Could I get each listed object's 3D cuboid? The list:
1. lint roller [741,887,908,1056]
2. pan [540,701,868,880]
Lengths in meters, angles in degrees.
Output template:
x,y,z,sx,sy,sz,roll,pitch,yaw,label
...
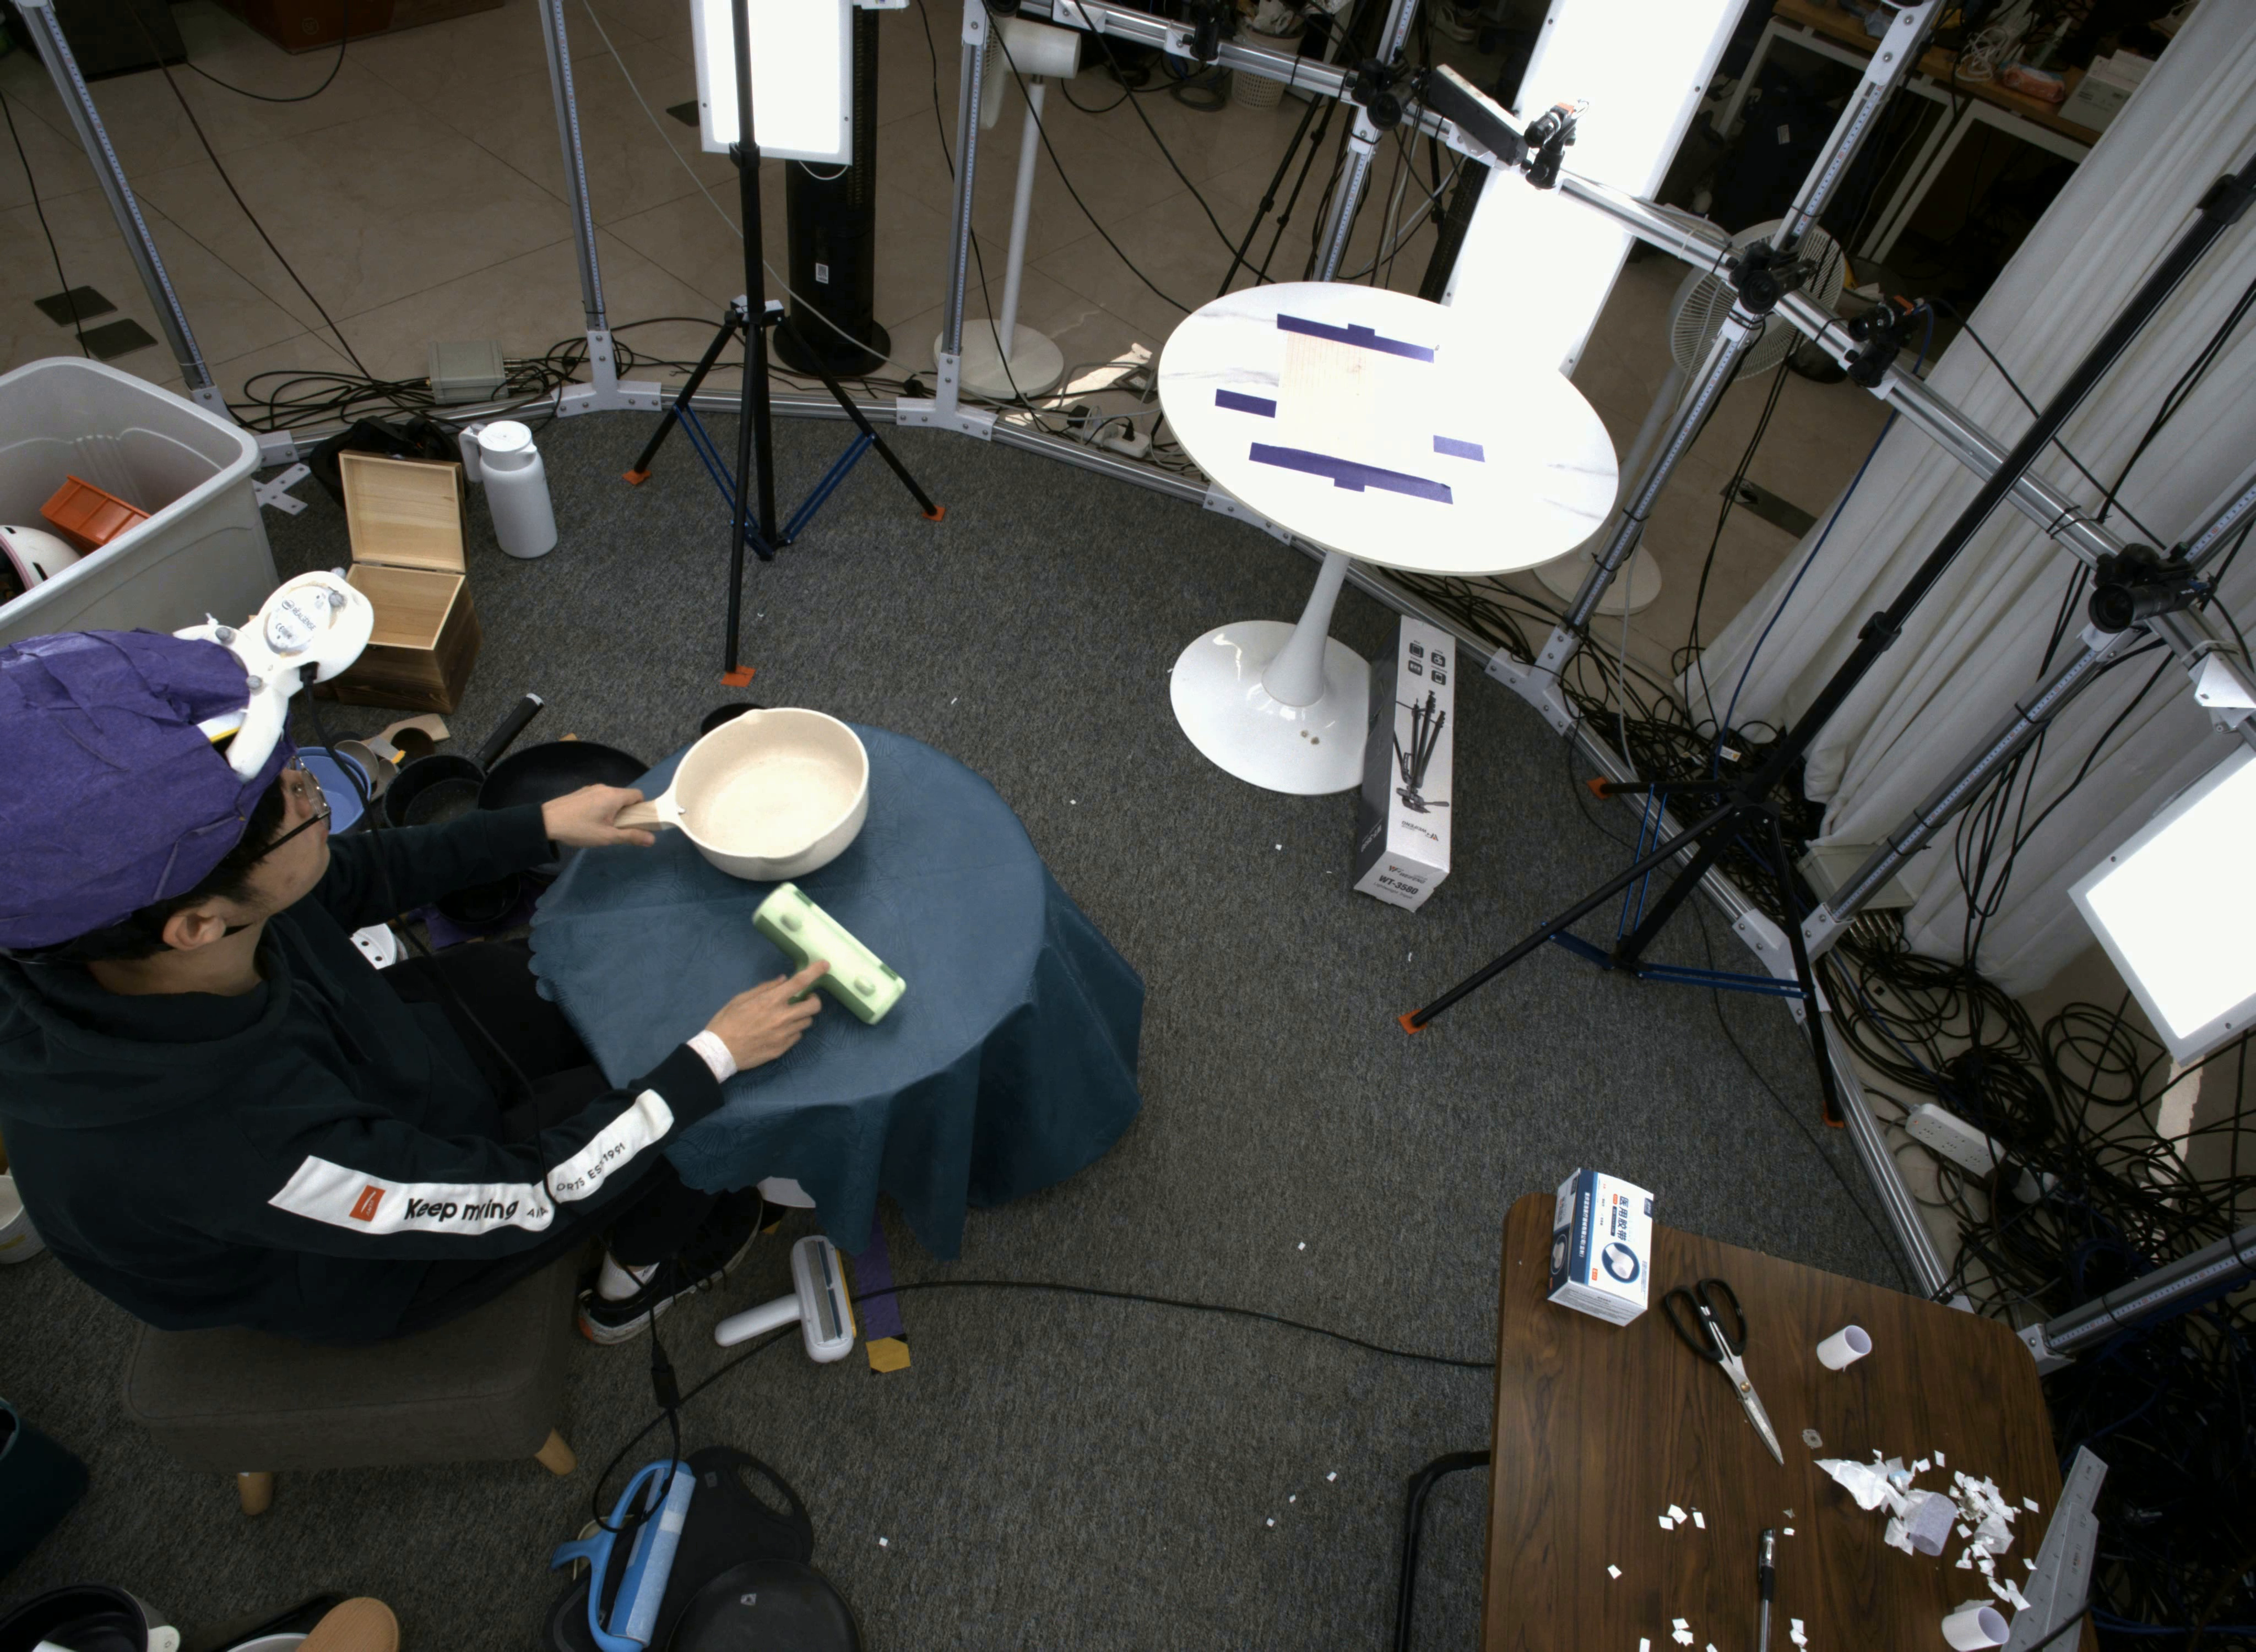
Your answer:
x,y,z,sx,sy,sz,roll,pitch,yaw,label
-0.387,0.190,1.529,0.199,0.082,0.183,41,55,-3,lint roller
-0.541,-0.018,1.649,0.434,0.105,0.256,-17,57,-14,pan
